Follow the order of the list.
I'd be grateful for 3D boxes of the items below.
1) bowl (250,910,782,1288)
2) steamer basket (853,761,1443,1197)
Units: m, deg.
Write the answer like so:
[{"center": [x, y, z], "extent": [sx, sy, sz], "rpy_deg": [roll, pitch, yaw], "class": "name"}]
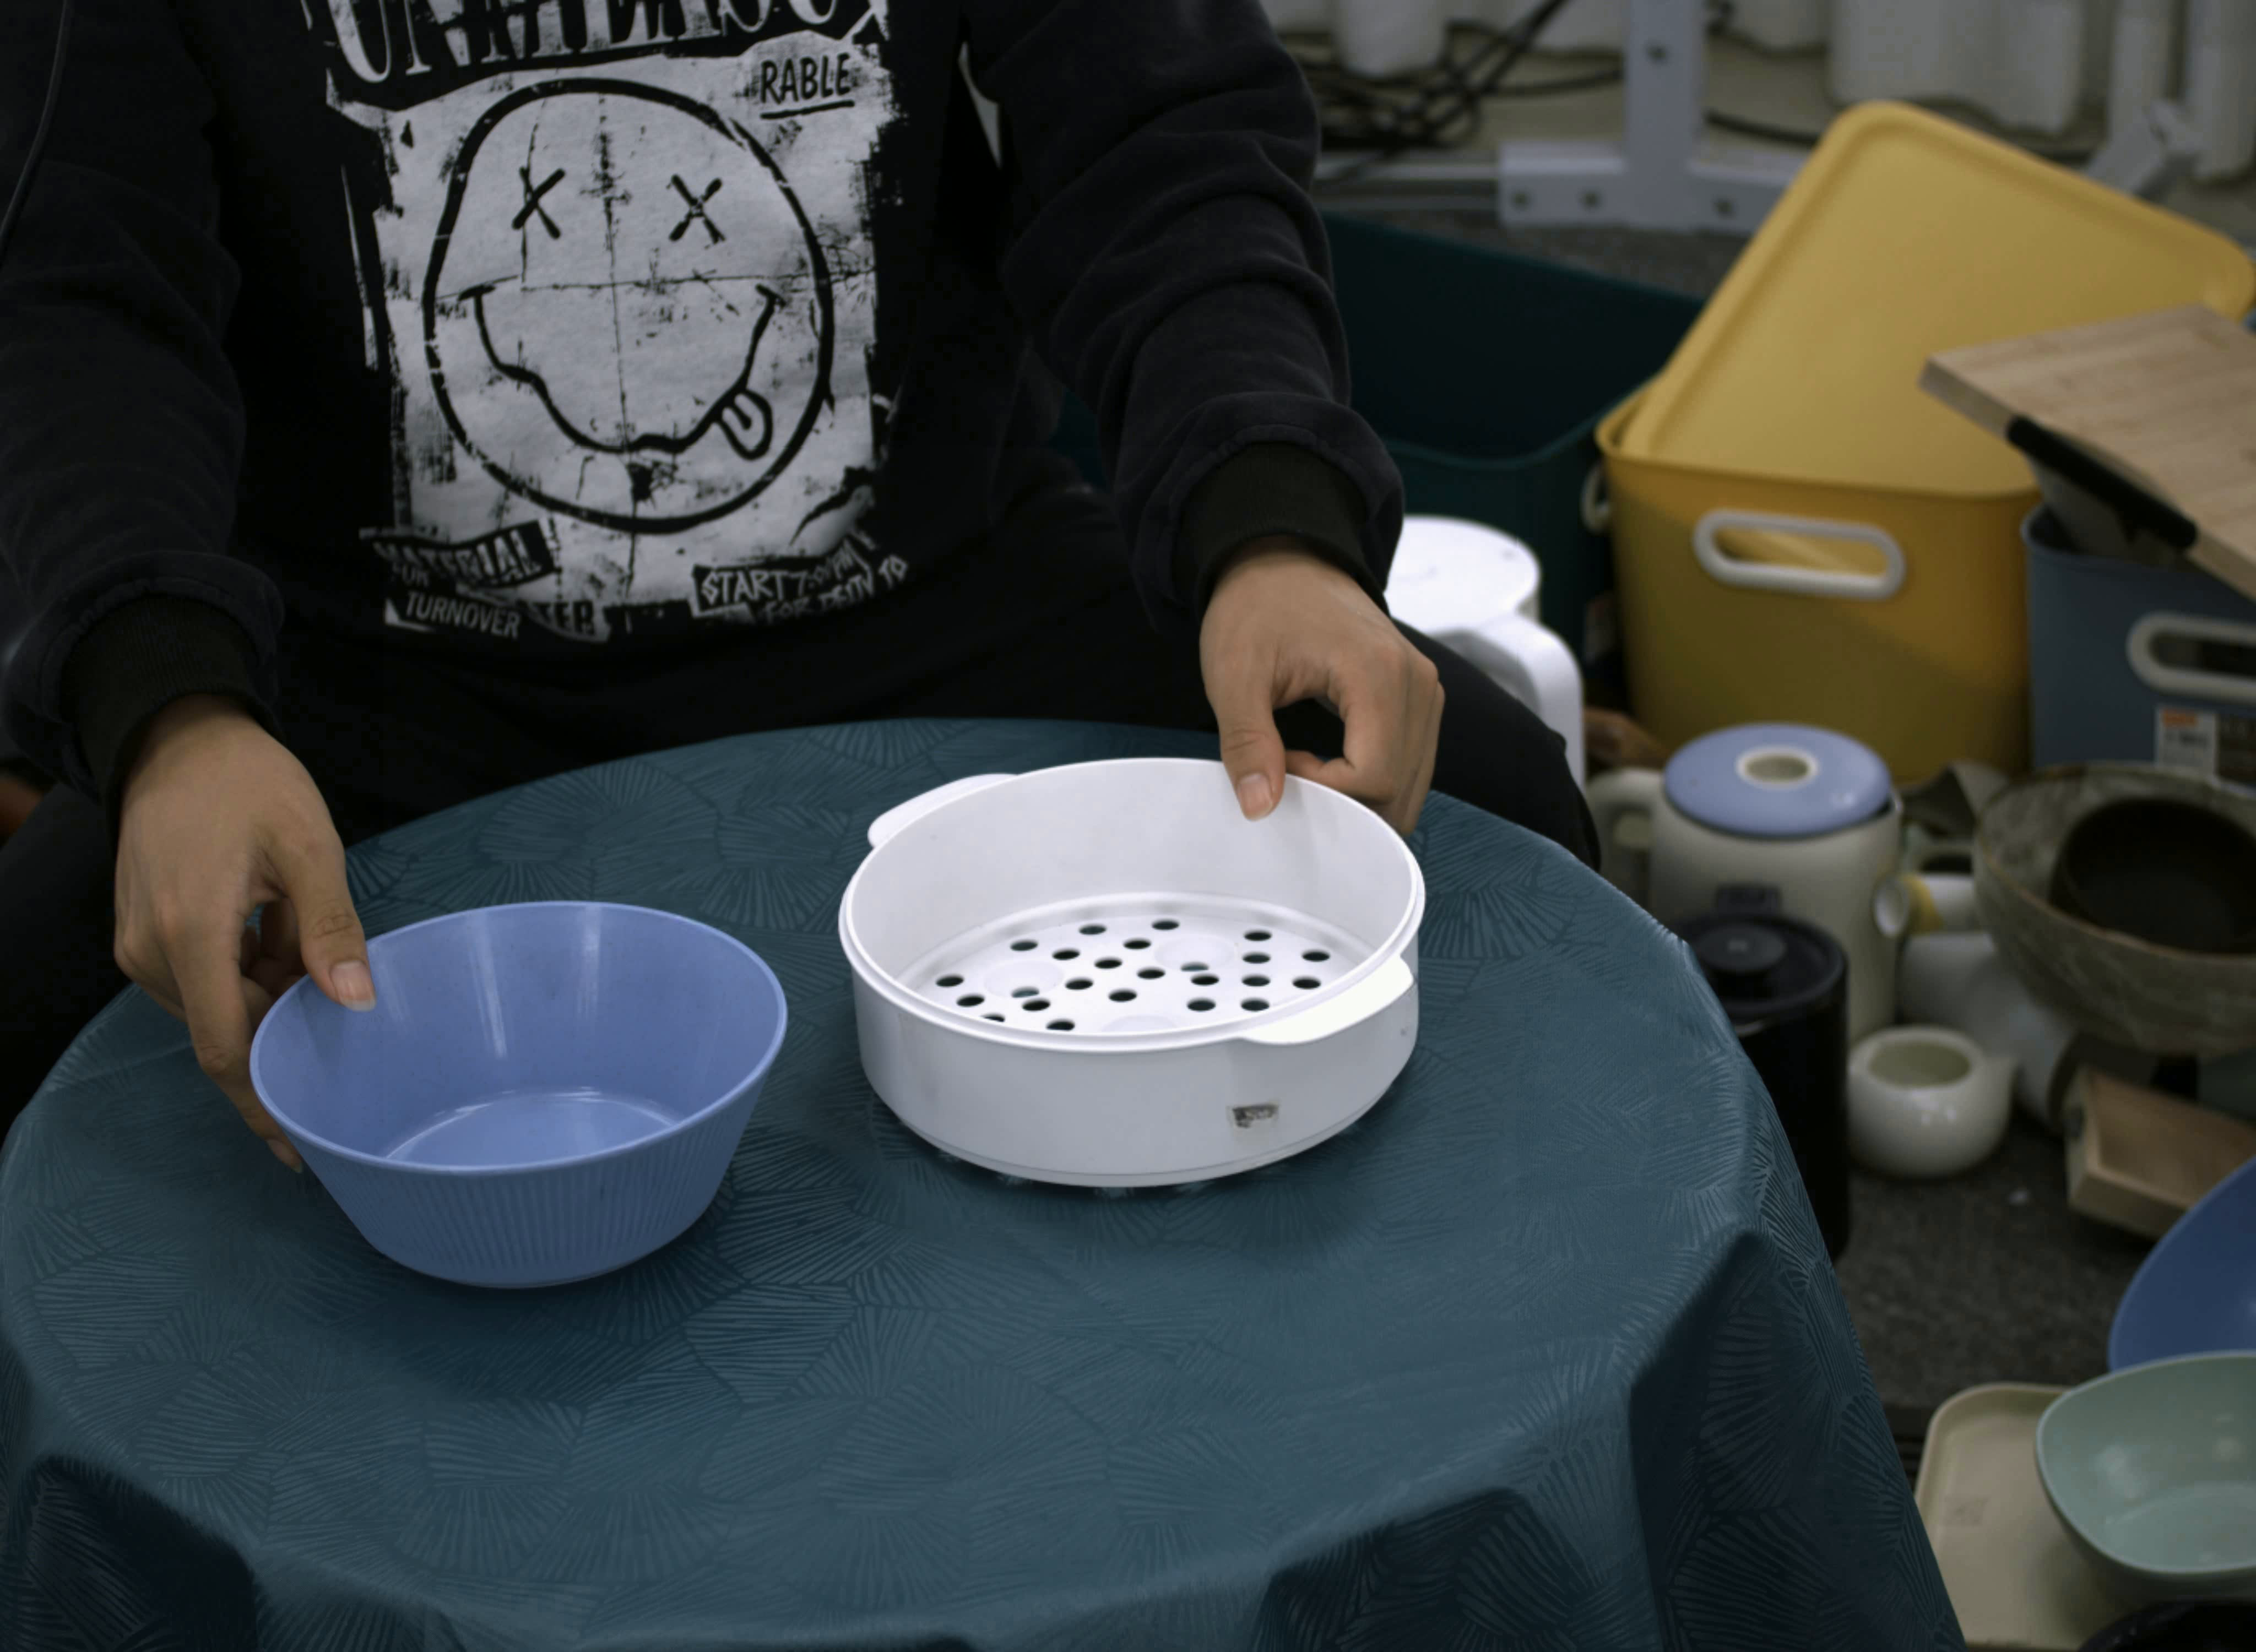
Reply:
[{"center": [-0.199, 0.096, 1.854], "extent": [0.175, 0.069, 0.178], "rpy_deg": [-1, 26, 1], "class": "bowl"}, {"center": [0.007, 0.053, 1.921], "extent": [0.204, 0.068, 0.230], "rpy_deg": [-24, 36, -36], "class": "steamer basket"}]
